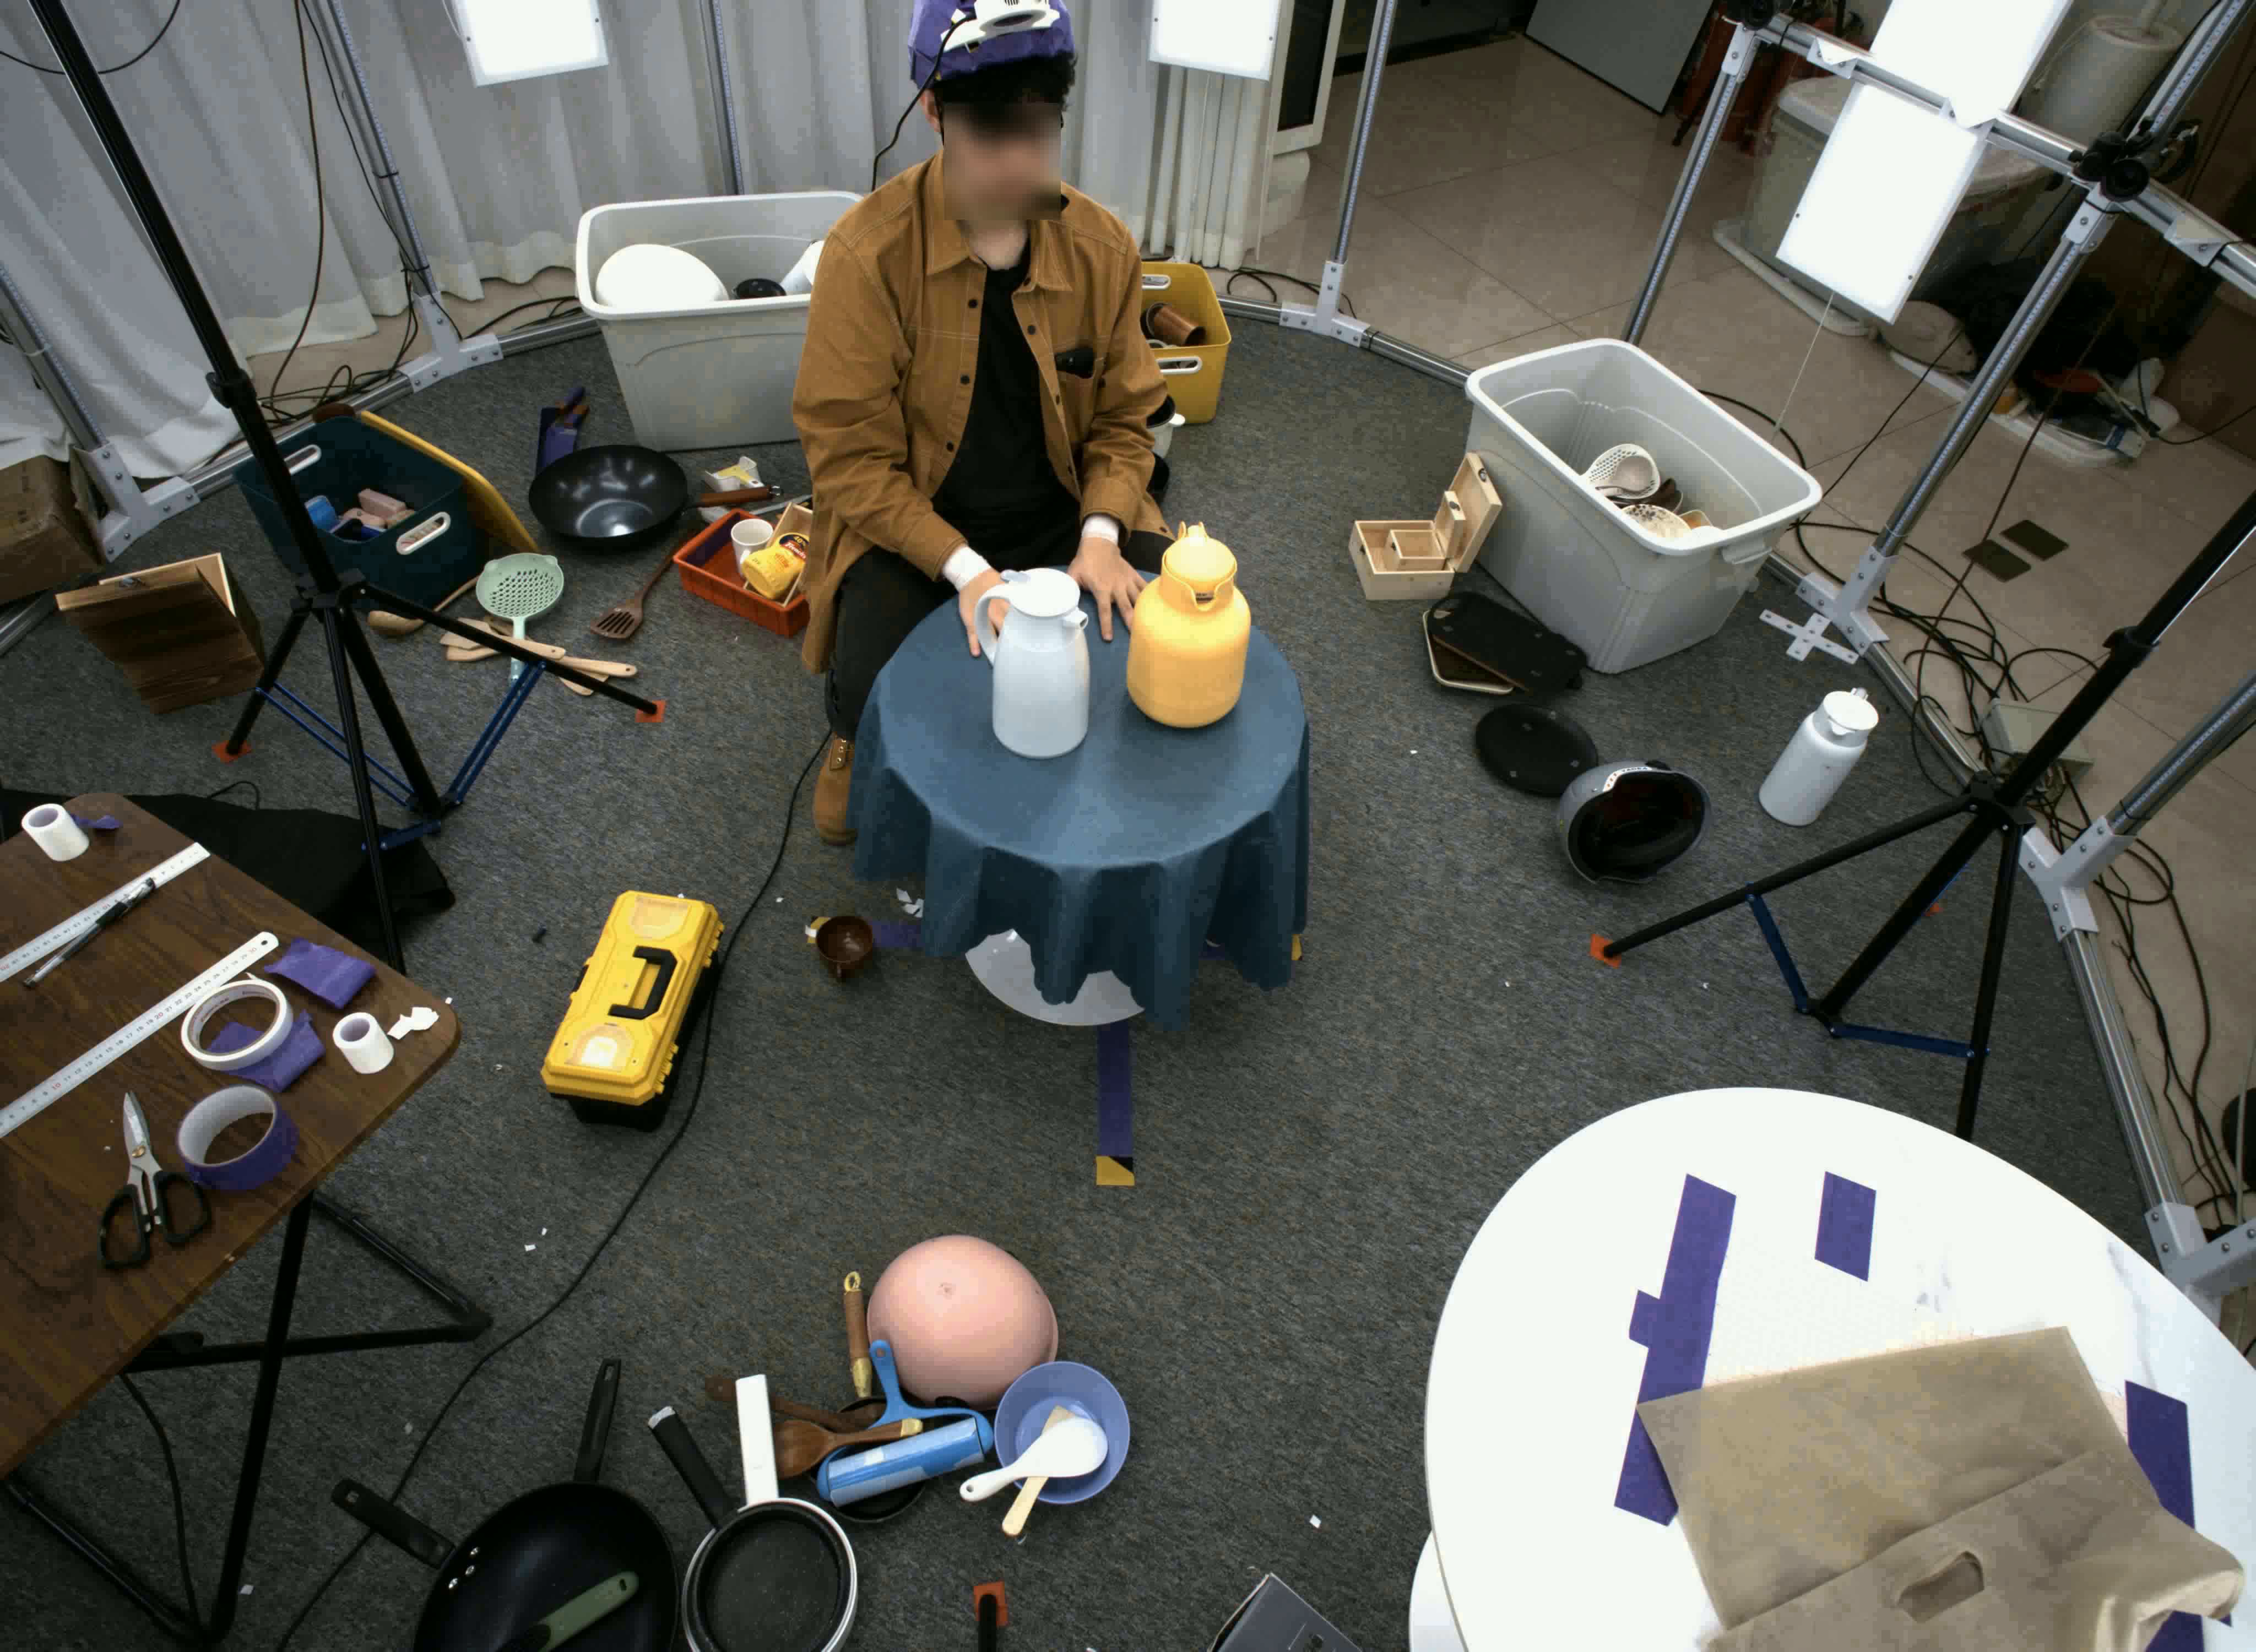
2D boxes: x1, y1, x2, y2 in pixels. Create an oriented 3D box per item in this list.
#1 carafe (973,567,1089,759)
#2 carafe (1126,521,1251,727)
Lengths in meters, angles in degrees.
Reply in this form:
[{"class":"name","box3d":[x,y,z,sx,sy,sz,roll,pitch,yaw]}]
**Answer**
[{"class":"carafe","box3d":[-0.132,-0.227,1.698,0.169,0.242,0.134,27,53,19]},{"class":"carafe","box3d":[0.085,-0.282,1.752,0.163,0.254,0.207,2,50,-4]}]
